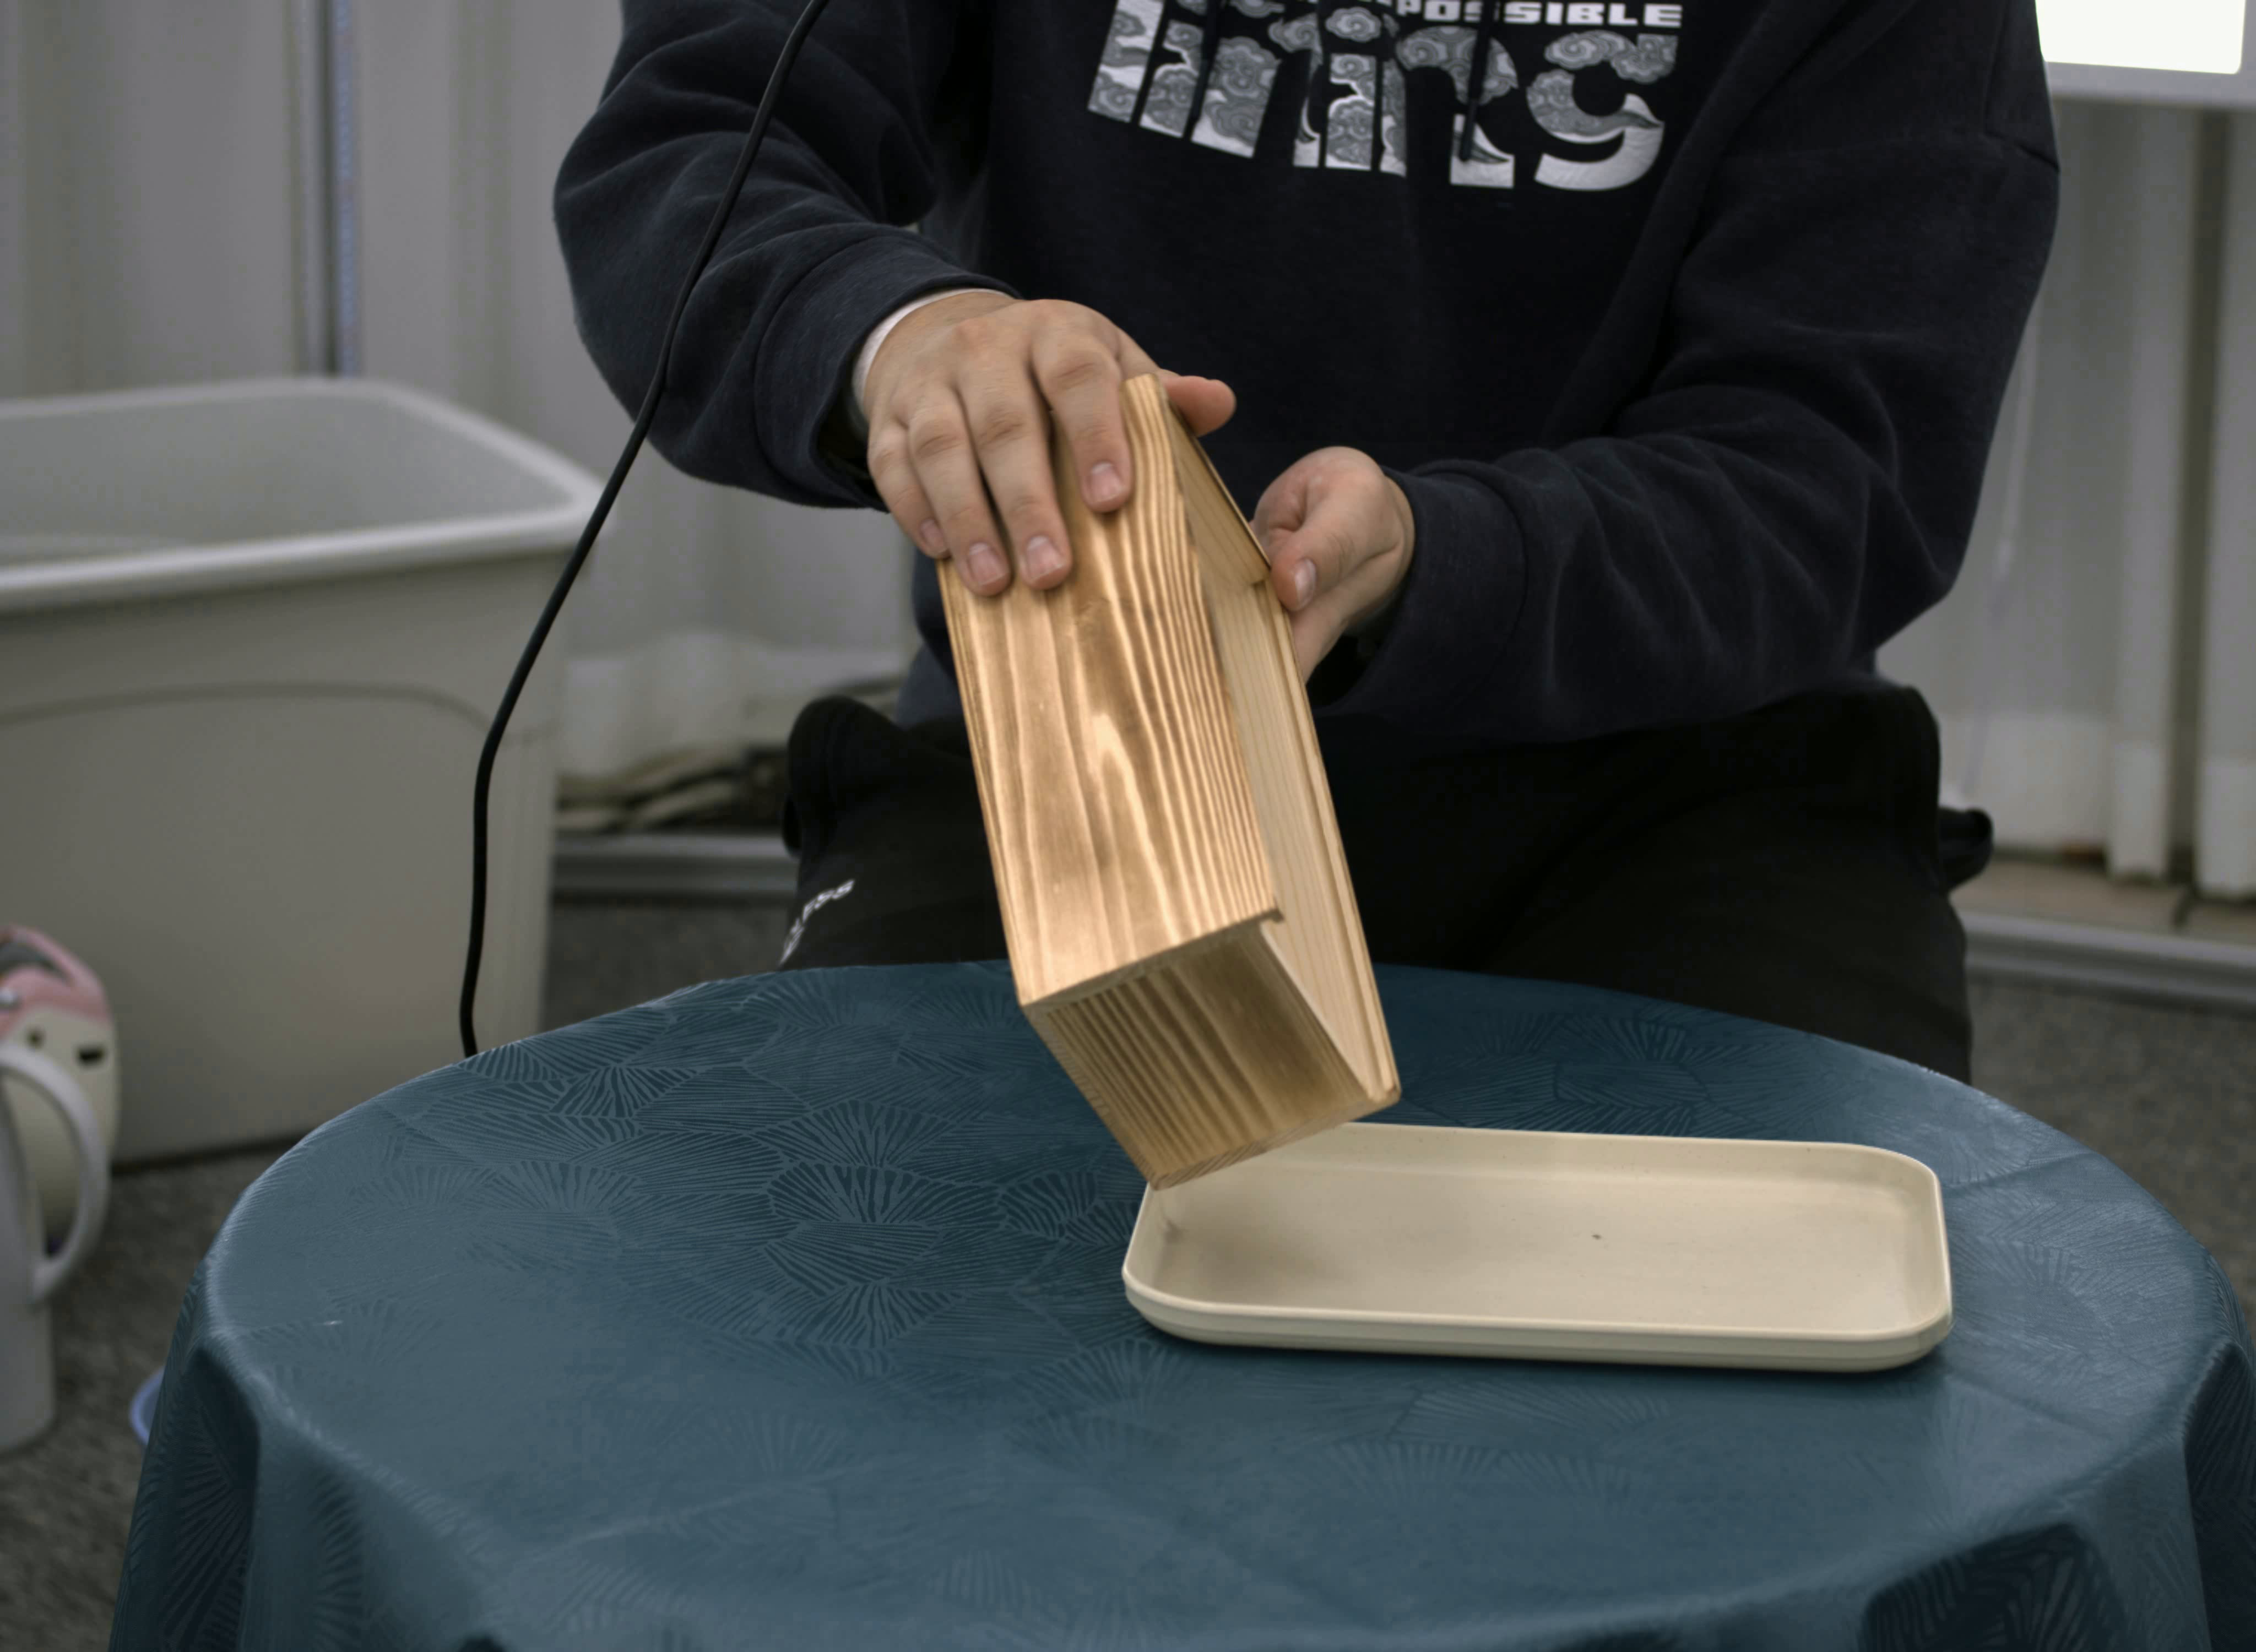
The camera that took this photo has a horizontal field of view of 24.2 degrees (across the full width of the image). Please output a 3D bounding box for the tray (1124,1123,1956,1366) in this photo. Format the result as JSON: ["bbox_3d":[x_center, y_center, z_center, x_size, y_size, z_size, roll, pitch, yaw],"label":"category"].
[{"bbox_3d":[0.122,0.123,1.560,0.238,0.017,0.170,2,15,5],"label":"tray"}]

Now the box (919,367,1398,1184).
[{"bbox_3d":[0.007,-0.016,1.558,0.080,0.109,0.209,-21,51,11],"label":"box"}]
